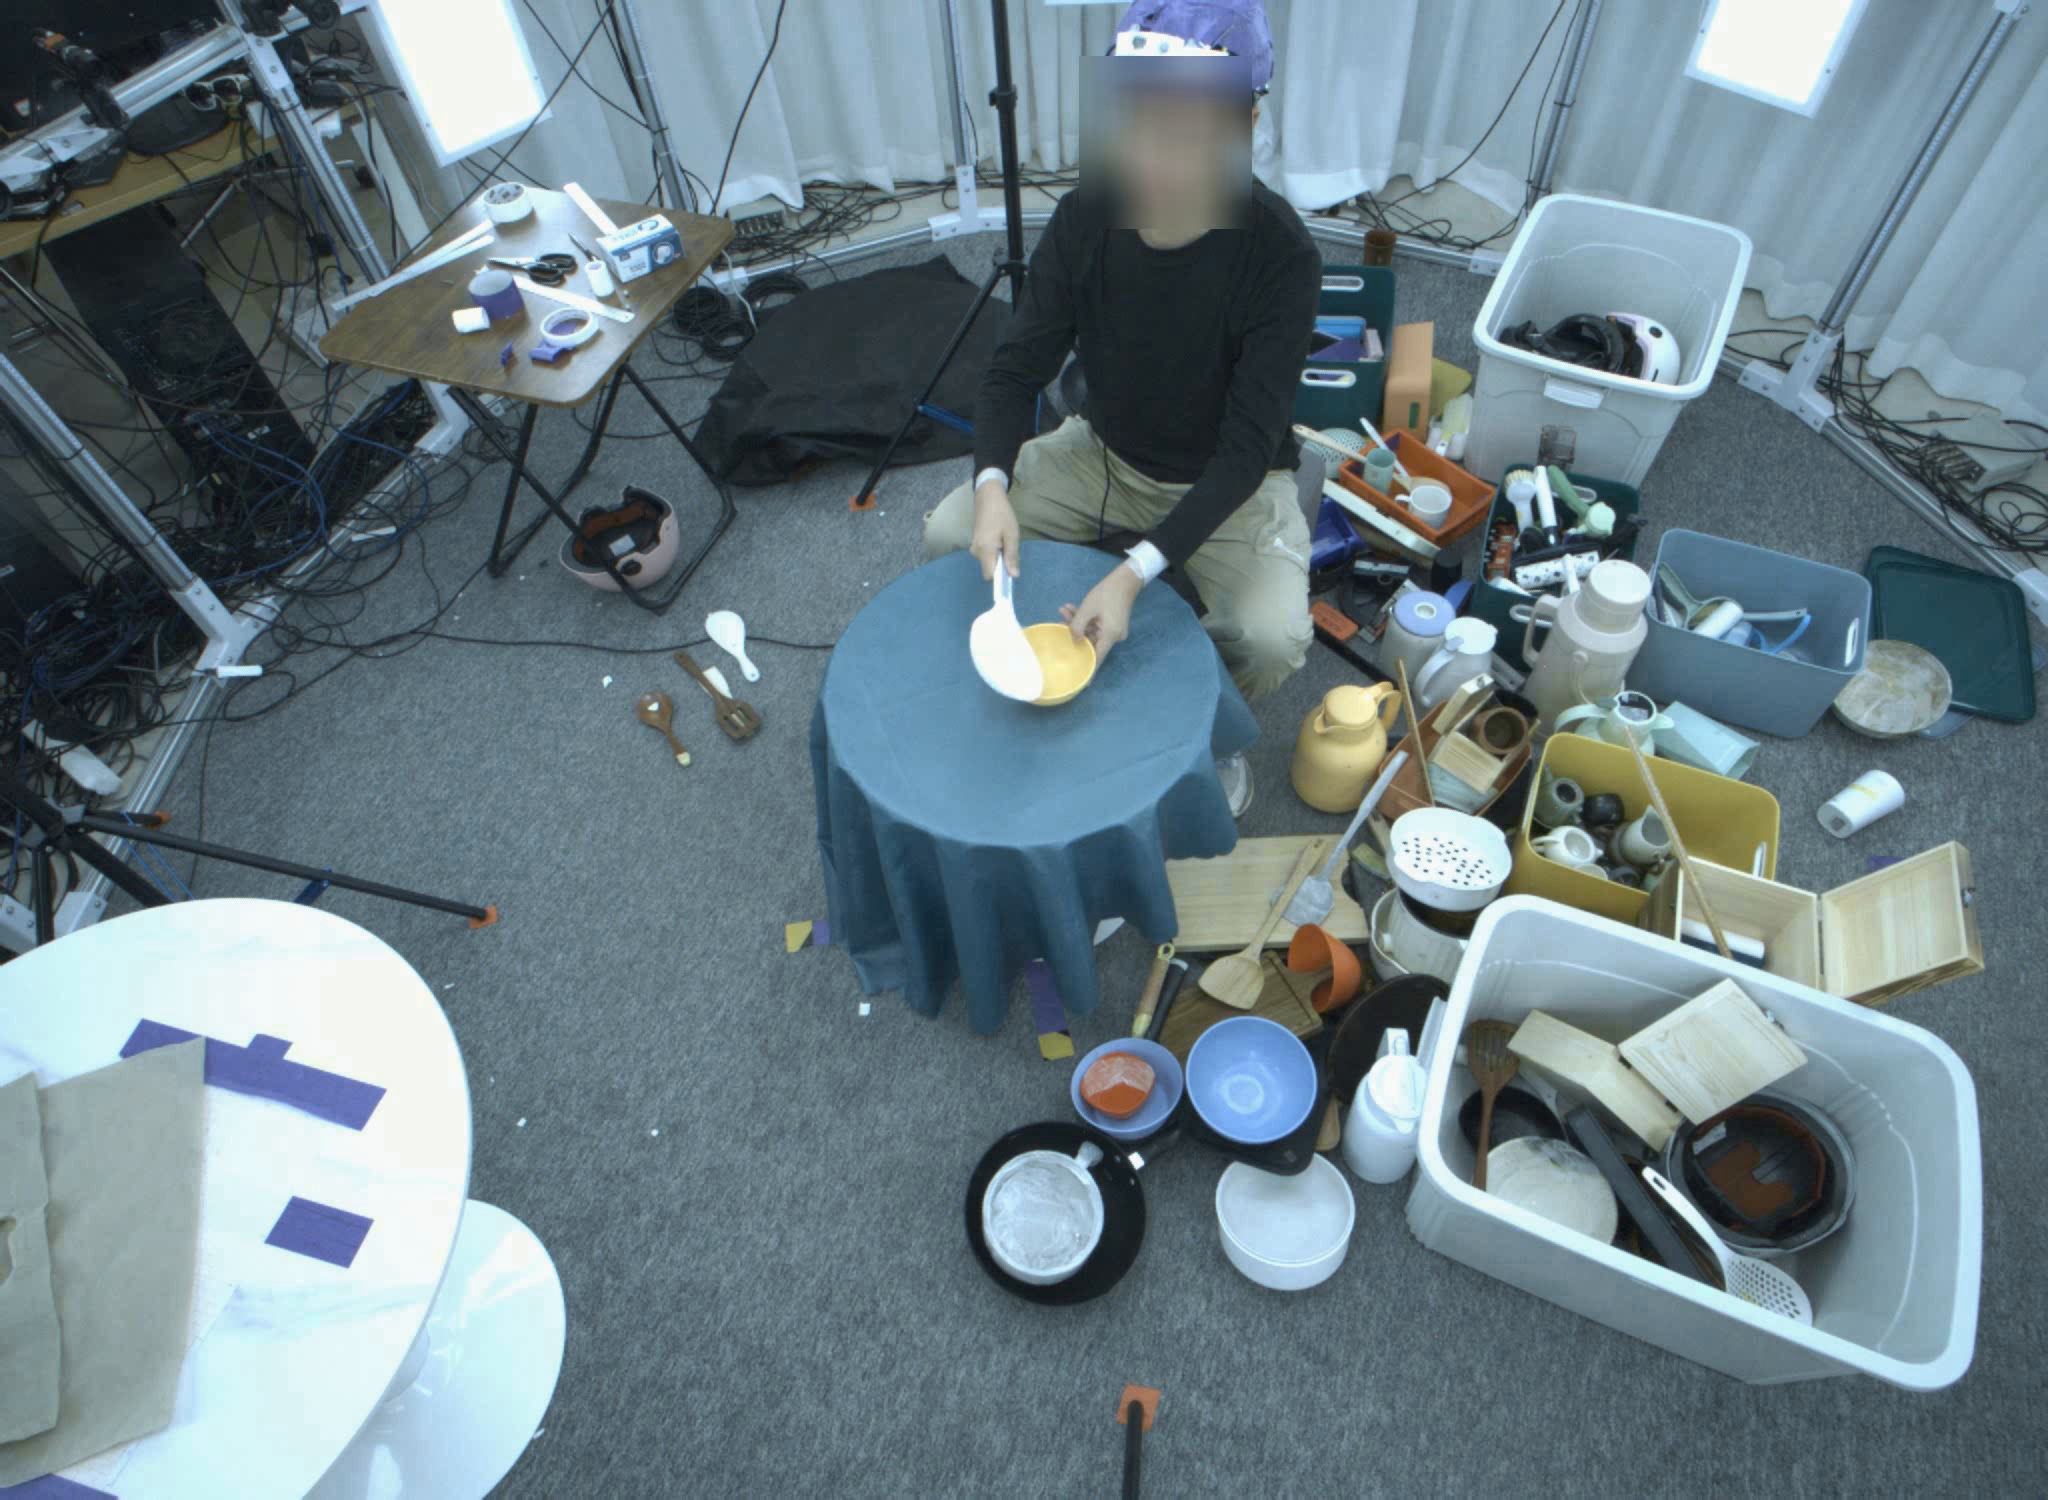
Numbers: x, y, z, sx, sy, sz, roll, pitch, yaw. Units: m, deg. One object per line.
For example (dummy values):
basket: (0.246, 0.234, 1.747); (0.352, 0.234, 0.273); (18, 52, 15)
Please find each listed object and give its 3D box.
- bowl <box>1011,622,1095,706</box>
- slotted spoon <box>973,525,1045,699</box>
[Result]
bowl: (0.034, -0.117, 1.834); (0.145, 0.061, 0.144); (0, 57, 1)
slotted spoon: (-0.028, -0.209, 1.784); (0.045, 0.139, 0.346); (-29, 44, 34)
